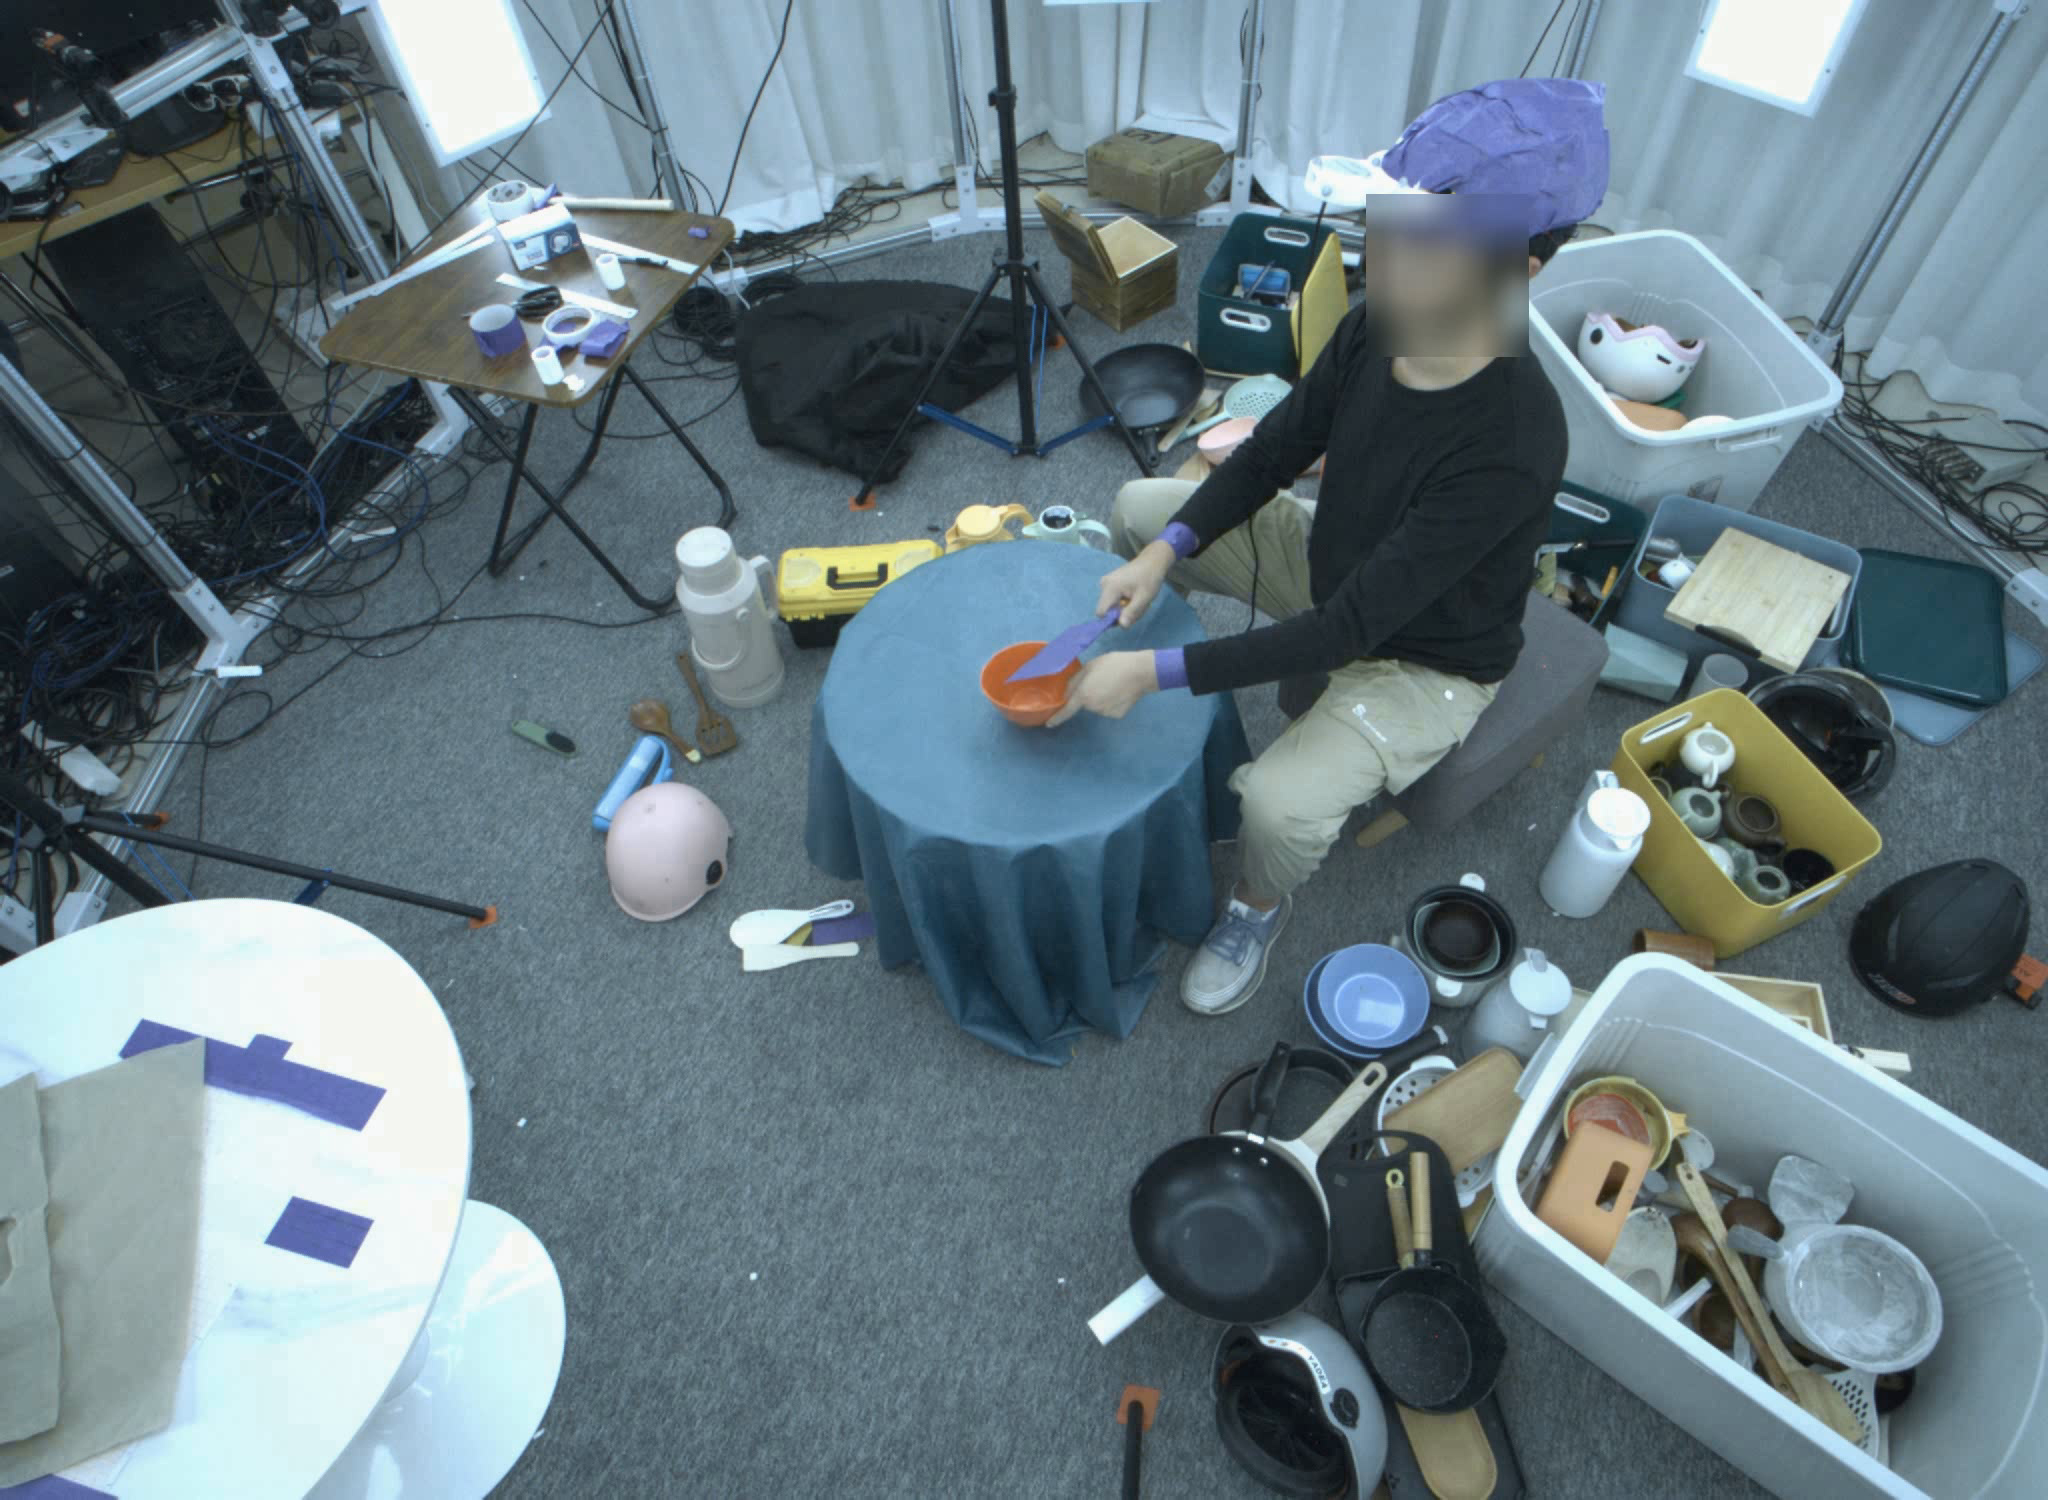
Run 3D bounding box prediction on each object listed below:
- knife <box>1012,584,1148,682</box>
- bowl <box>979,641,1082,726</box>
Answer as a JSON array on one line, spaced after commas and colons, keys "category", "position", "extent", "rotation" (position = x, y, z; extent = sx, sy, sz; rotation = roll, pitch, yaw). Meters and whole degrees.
[{"category": "knife", "position": [0.080, -0.171, 1.771], "extent": [0.102, 0.032, 0.318], "rotation": [-8, 20, 33]}, {"category": "bowl", "position": [0.011, -0.082, 1.778], "extent": [0.148, 0.106, 0.146], "rotation": [0, 55, 2]}]
